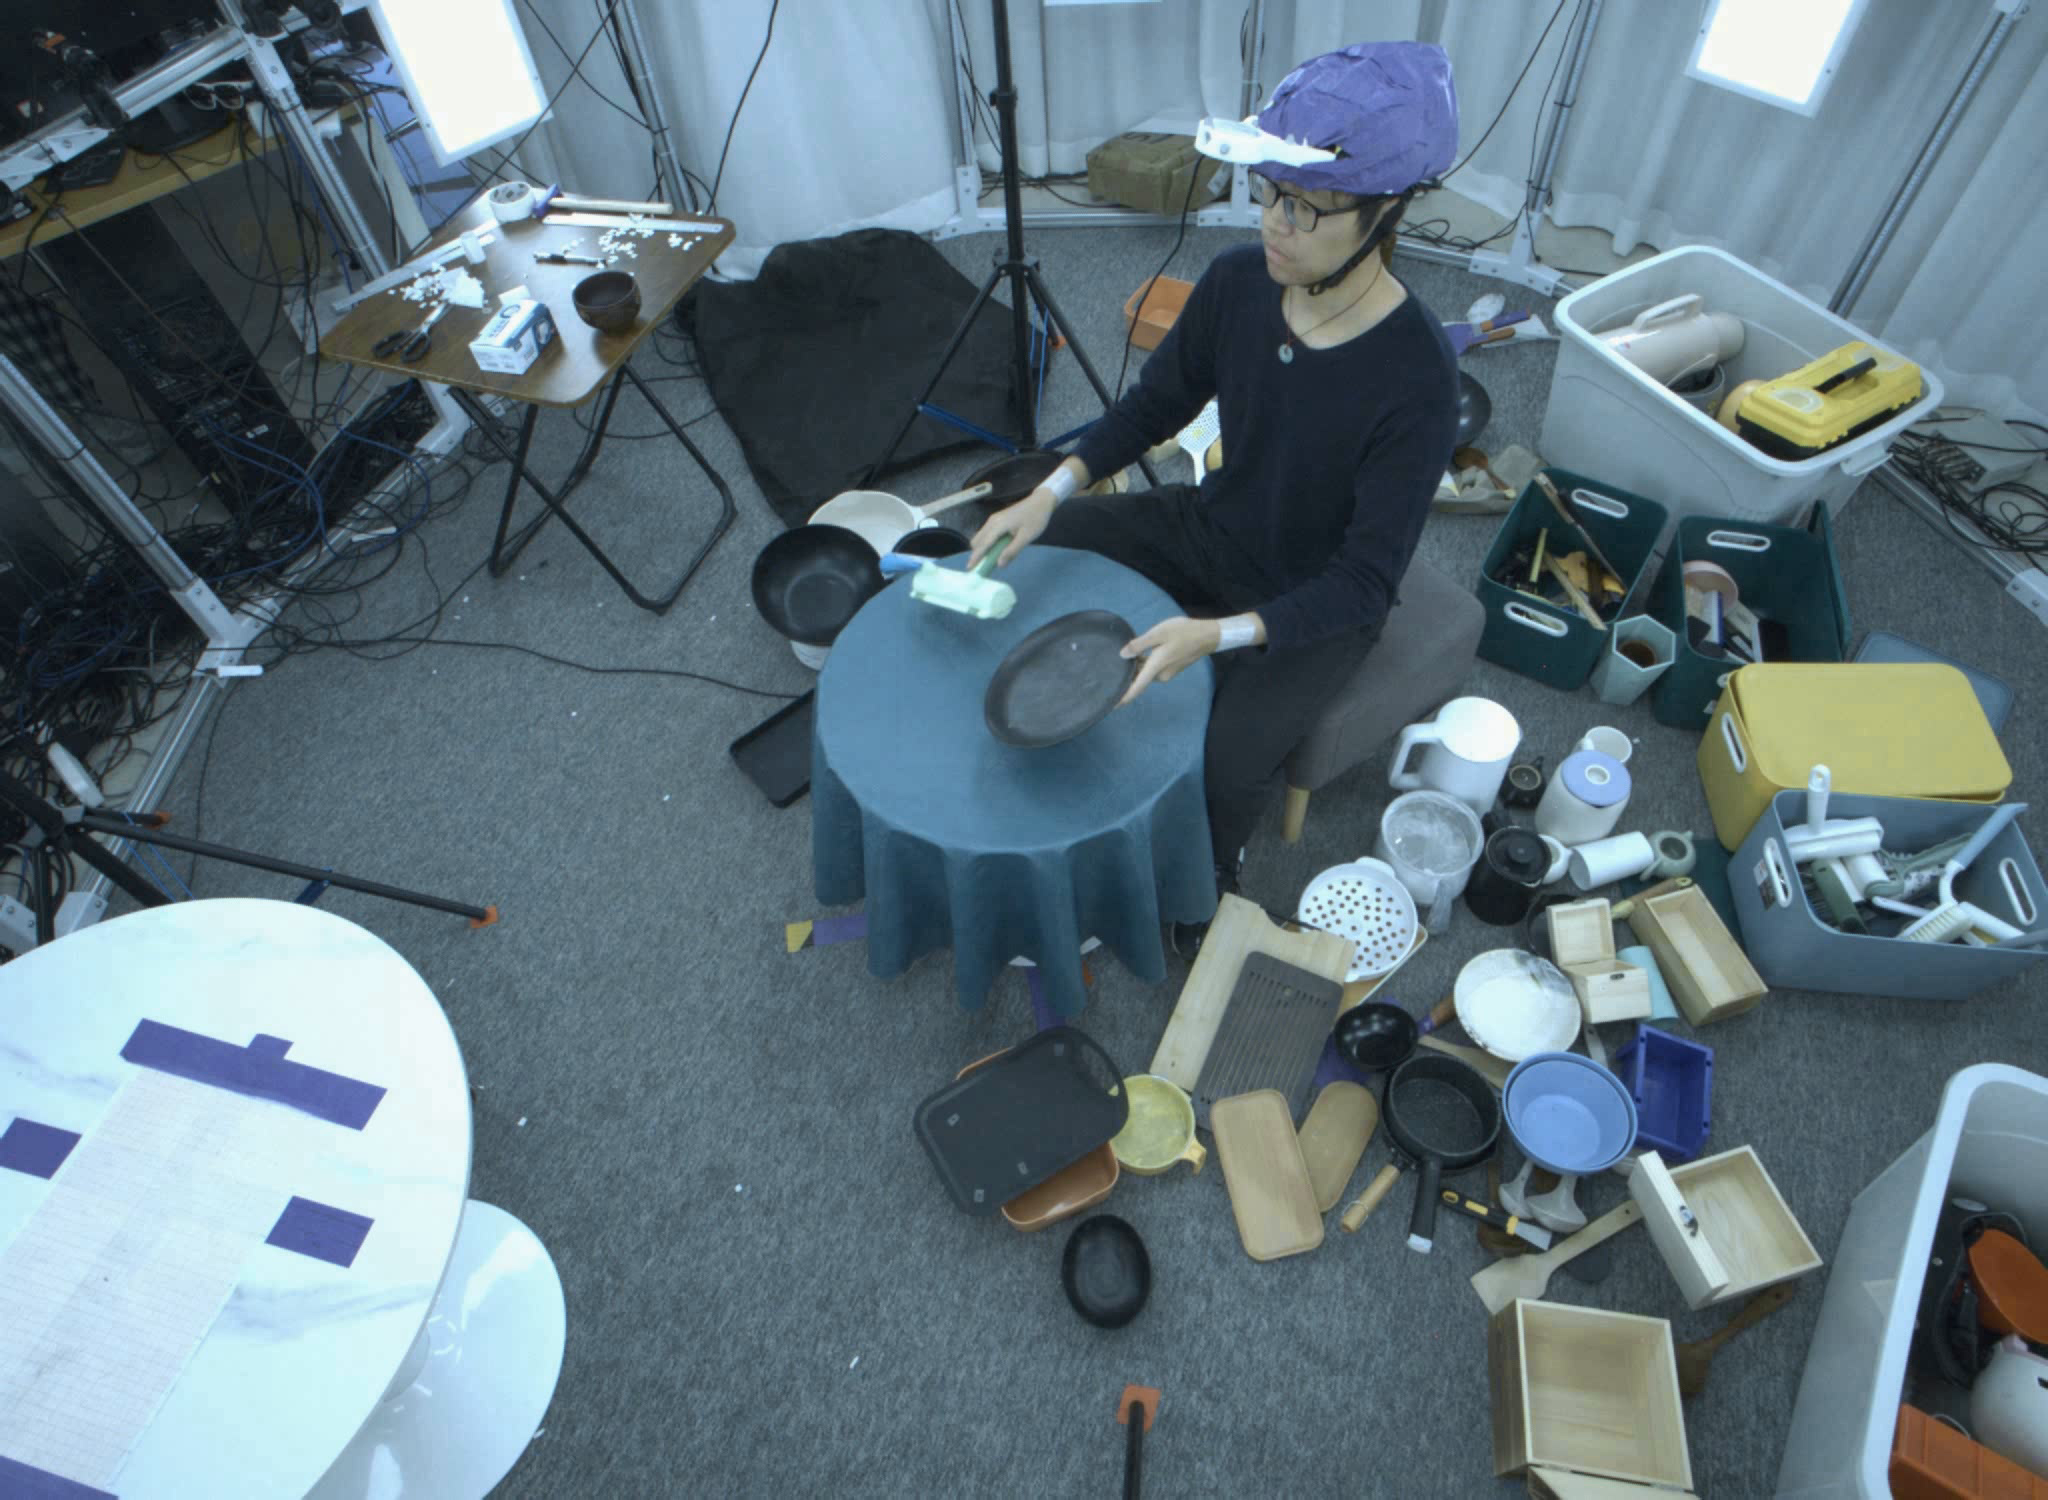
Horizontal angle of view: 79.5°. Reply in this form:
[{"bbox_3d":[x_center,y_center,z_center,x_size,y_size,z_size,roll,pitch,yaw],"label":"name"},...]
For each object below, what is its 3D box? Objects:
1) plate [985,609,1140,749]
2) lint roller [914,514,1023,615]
[{"bbox_3d":[0.055,-0.095,1.698,0.241,0.024,0.242,-20,45,23],"label":"plate"},{"bbox_3d":[-0.069,-0.296,1.855,0.194,0.084,0.183,20,79,46],"label":"lint roller"}]
